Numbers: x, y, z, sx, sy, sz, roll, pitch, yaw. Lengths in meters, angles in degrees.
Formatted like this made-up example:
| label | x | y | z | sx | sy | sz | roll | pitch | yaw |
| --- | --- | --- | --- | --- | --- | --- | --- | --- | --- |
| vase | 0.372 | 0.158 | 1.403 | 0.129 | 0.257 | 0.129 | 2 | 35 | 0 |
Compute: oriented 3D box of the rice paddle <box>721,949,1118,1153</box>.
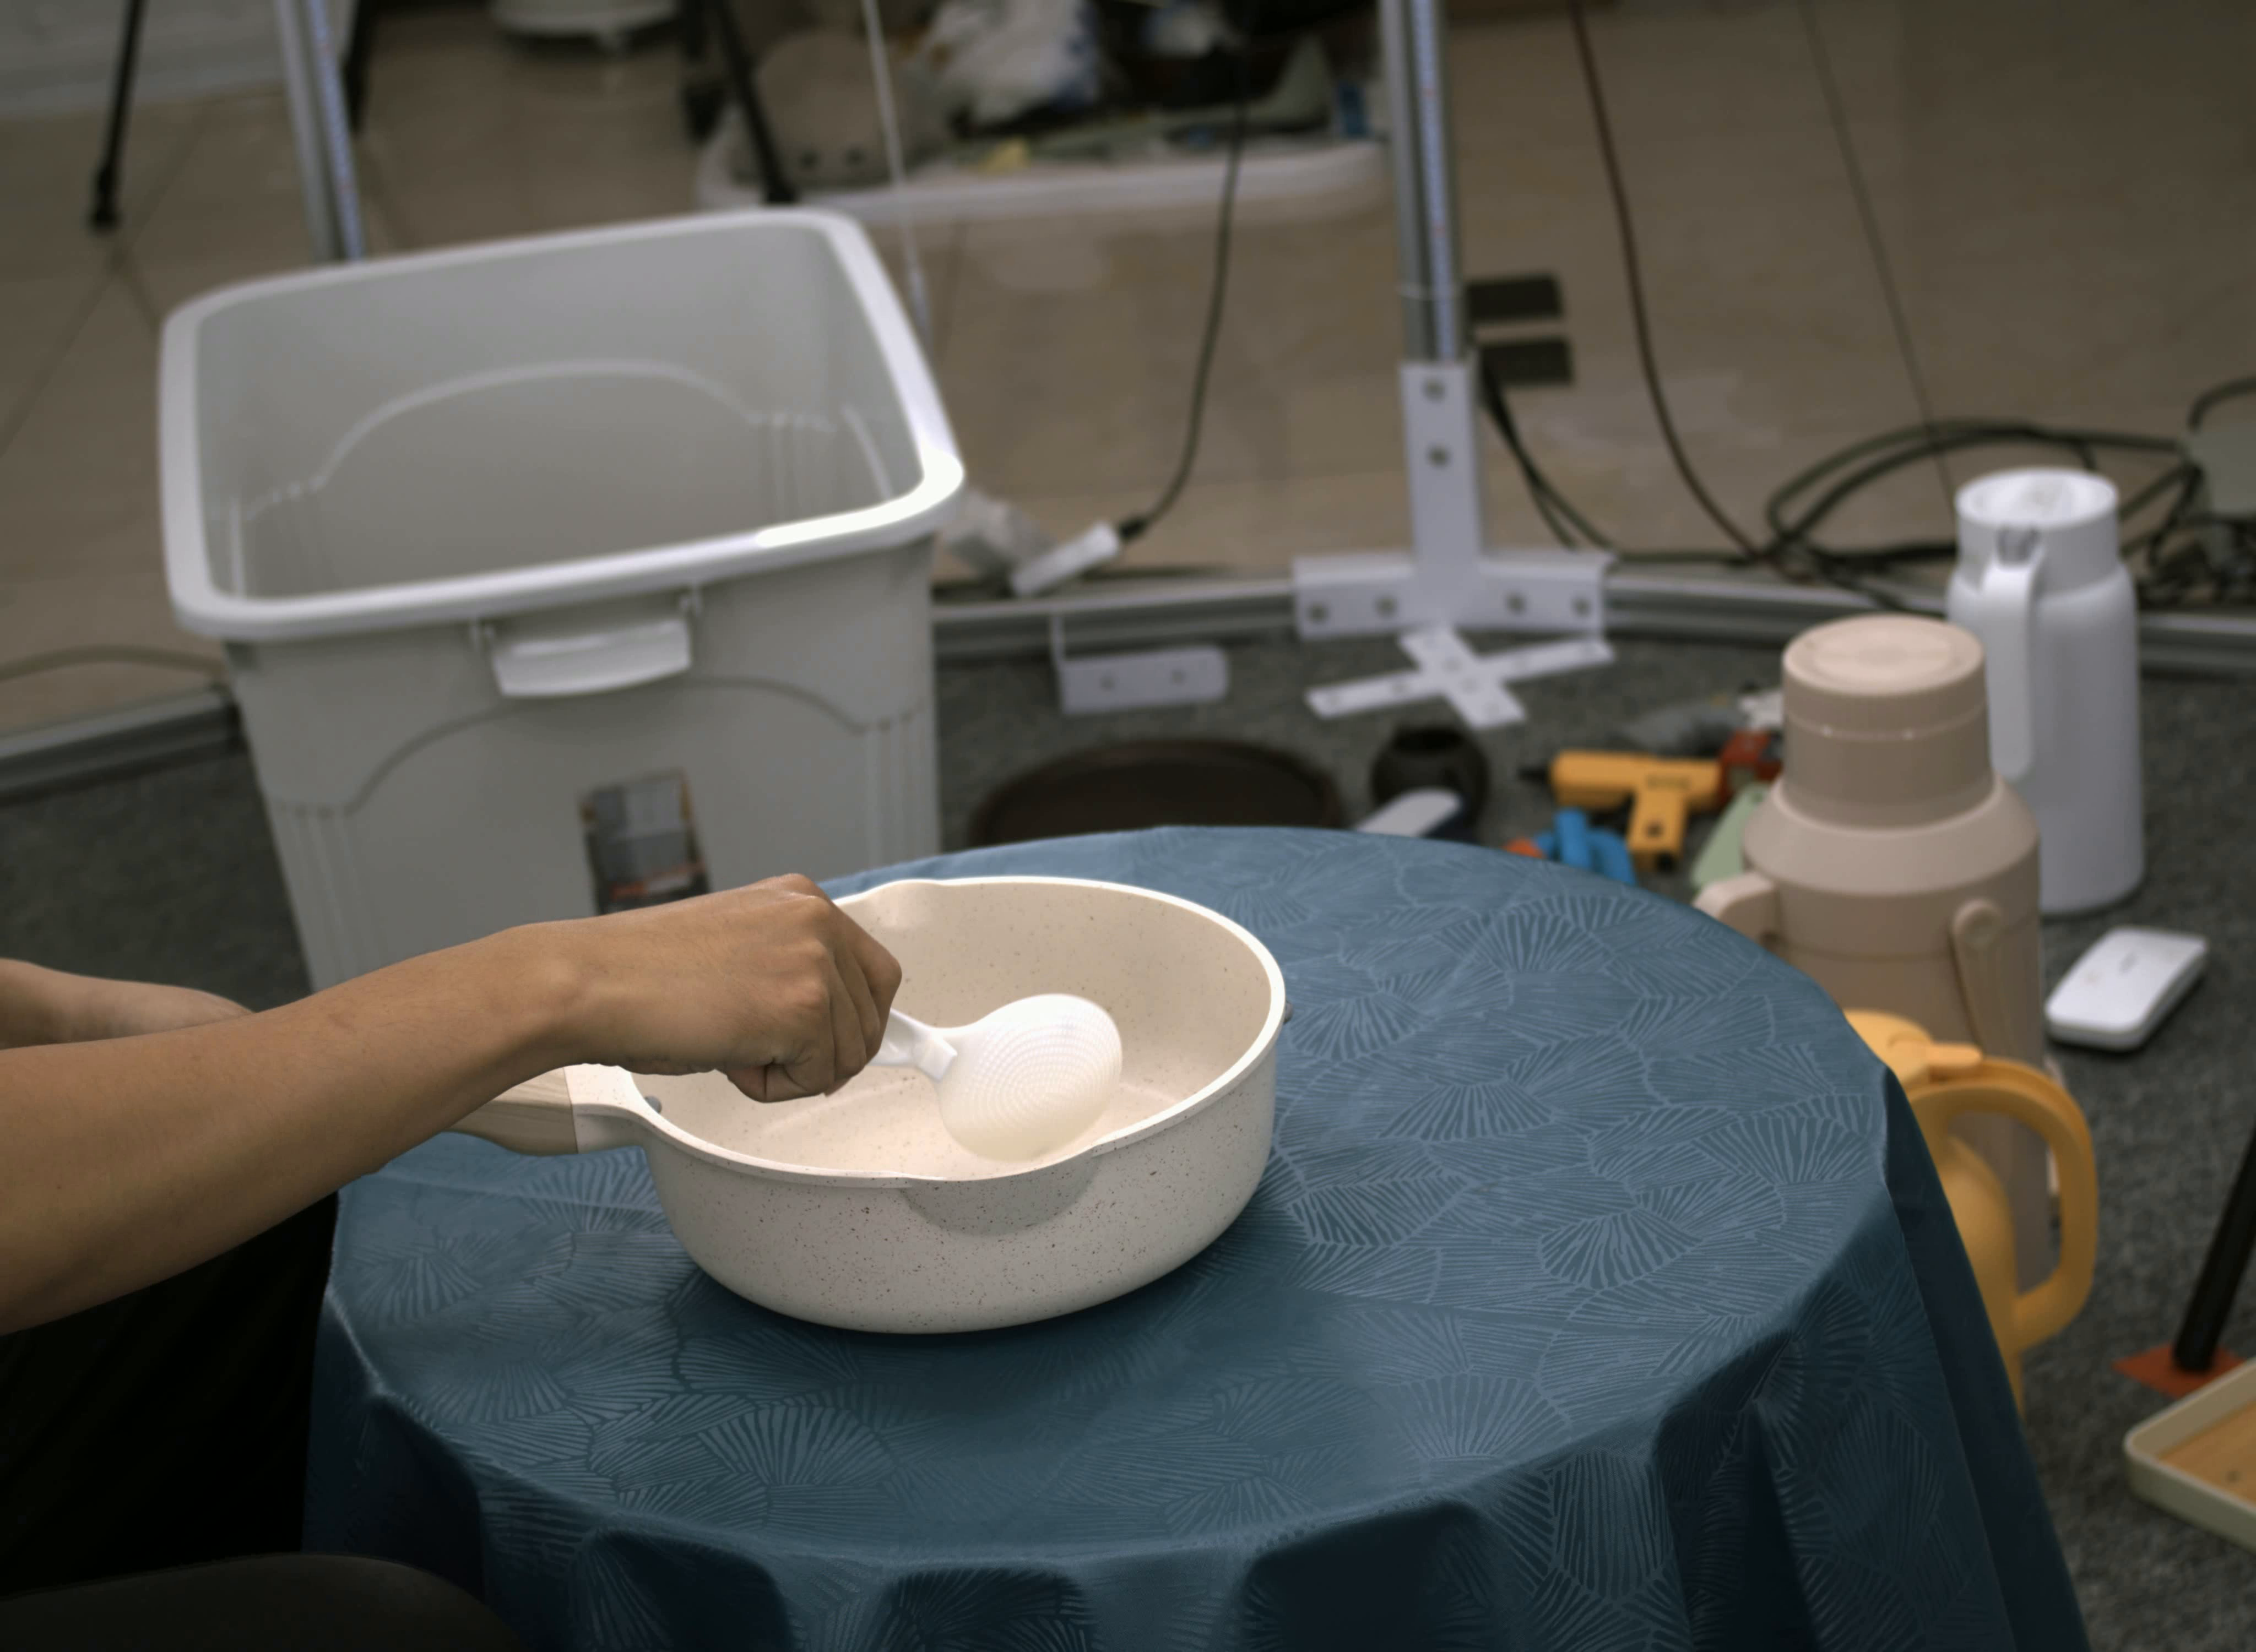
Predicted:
| label | x | y | z | sx | sy | sz | roll | pitch | yaw |
| --- | --- | --- | --- | --- | --- | --- | --- | --- | --- |
| rice paddle | -0.070 | 0.078 | 2.017 | 0.029 | 0.069 | 0.206 | 42 | 14 | 35 |

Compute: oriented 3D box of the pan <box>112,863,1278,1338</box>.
| label | x | y | z | sx | sy | sz | roll | pitch | yaw |
| --- | --- | --- | --- | --- | --- | --- | --- | --- | --- |
| pan | -0.155 | 0.116 | 2.123 | 0.434 | 0.104 | 0.259 | -10 | 27 | -7 |
